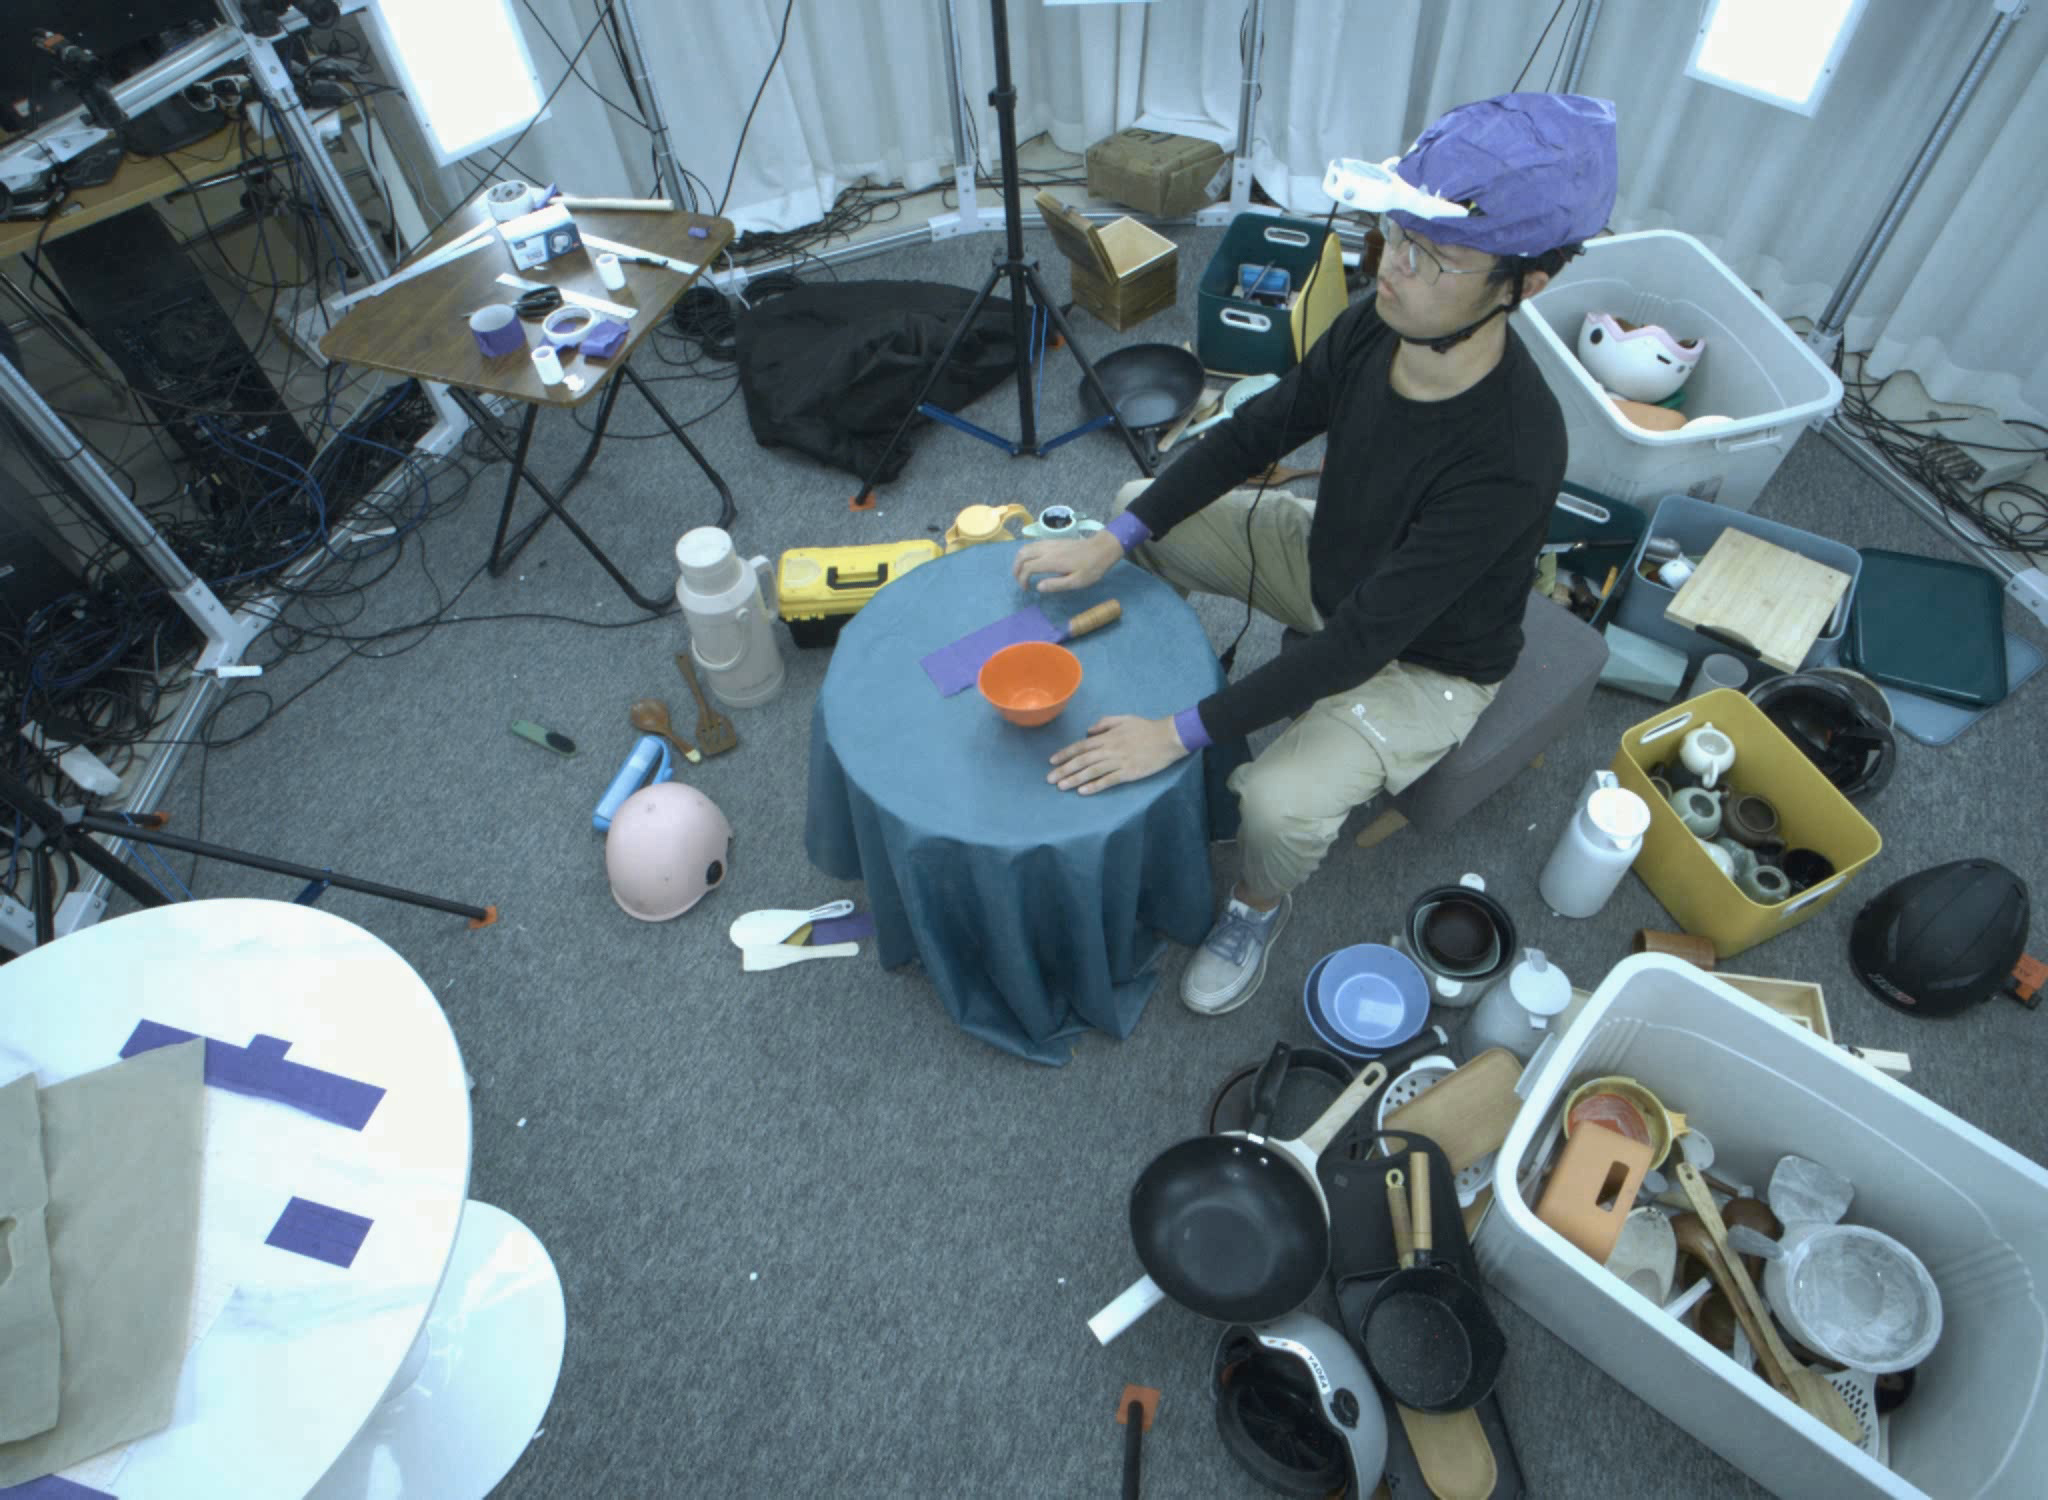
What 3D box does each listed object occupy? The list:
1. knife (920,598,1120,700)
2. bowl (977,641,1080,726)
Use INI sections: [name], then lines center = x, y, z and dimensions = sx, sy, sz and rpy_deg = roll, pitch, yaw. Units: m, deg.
[knife]
center = -0.008, -0.178, 1.894
dimensions = 0.318, 0.032, 0.102
rpy_deg = -26, 58, -15
[bowl]
center = 0.009, -0.082, 1.779
dimensions = 0.148, 0.106, 0.146
rpy_deg = -2, 54, 3
